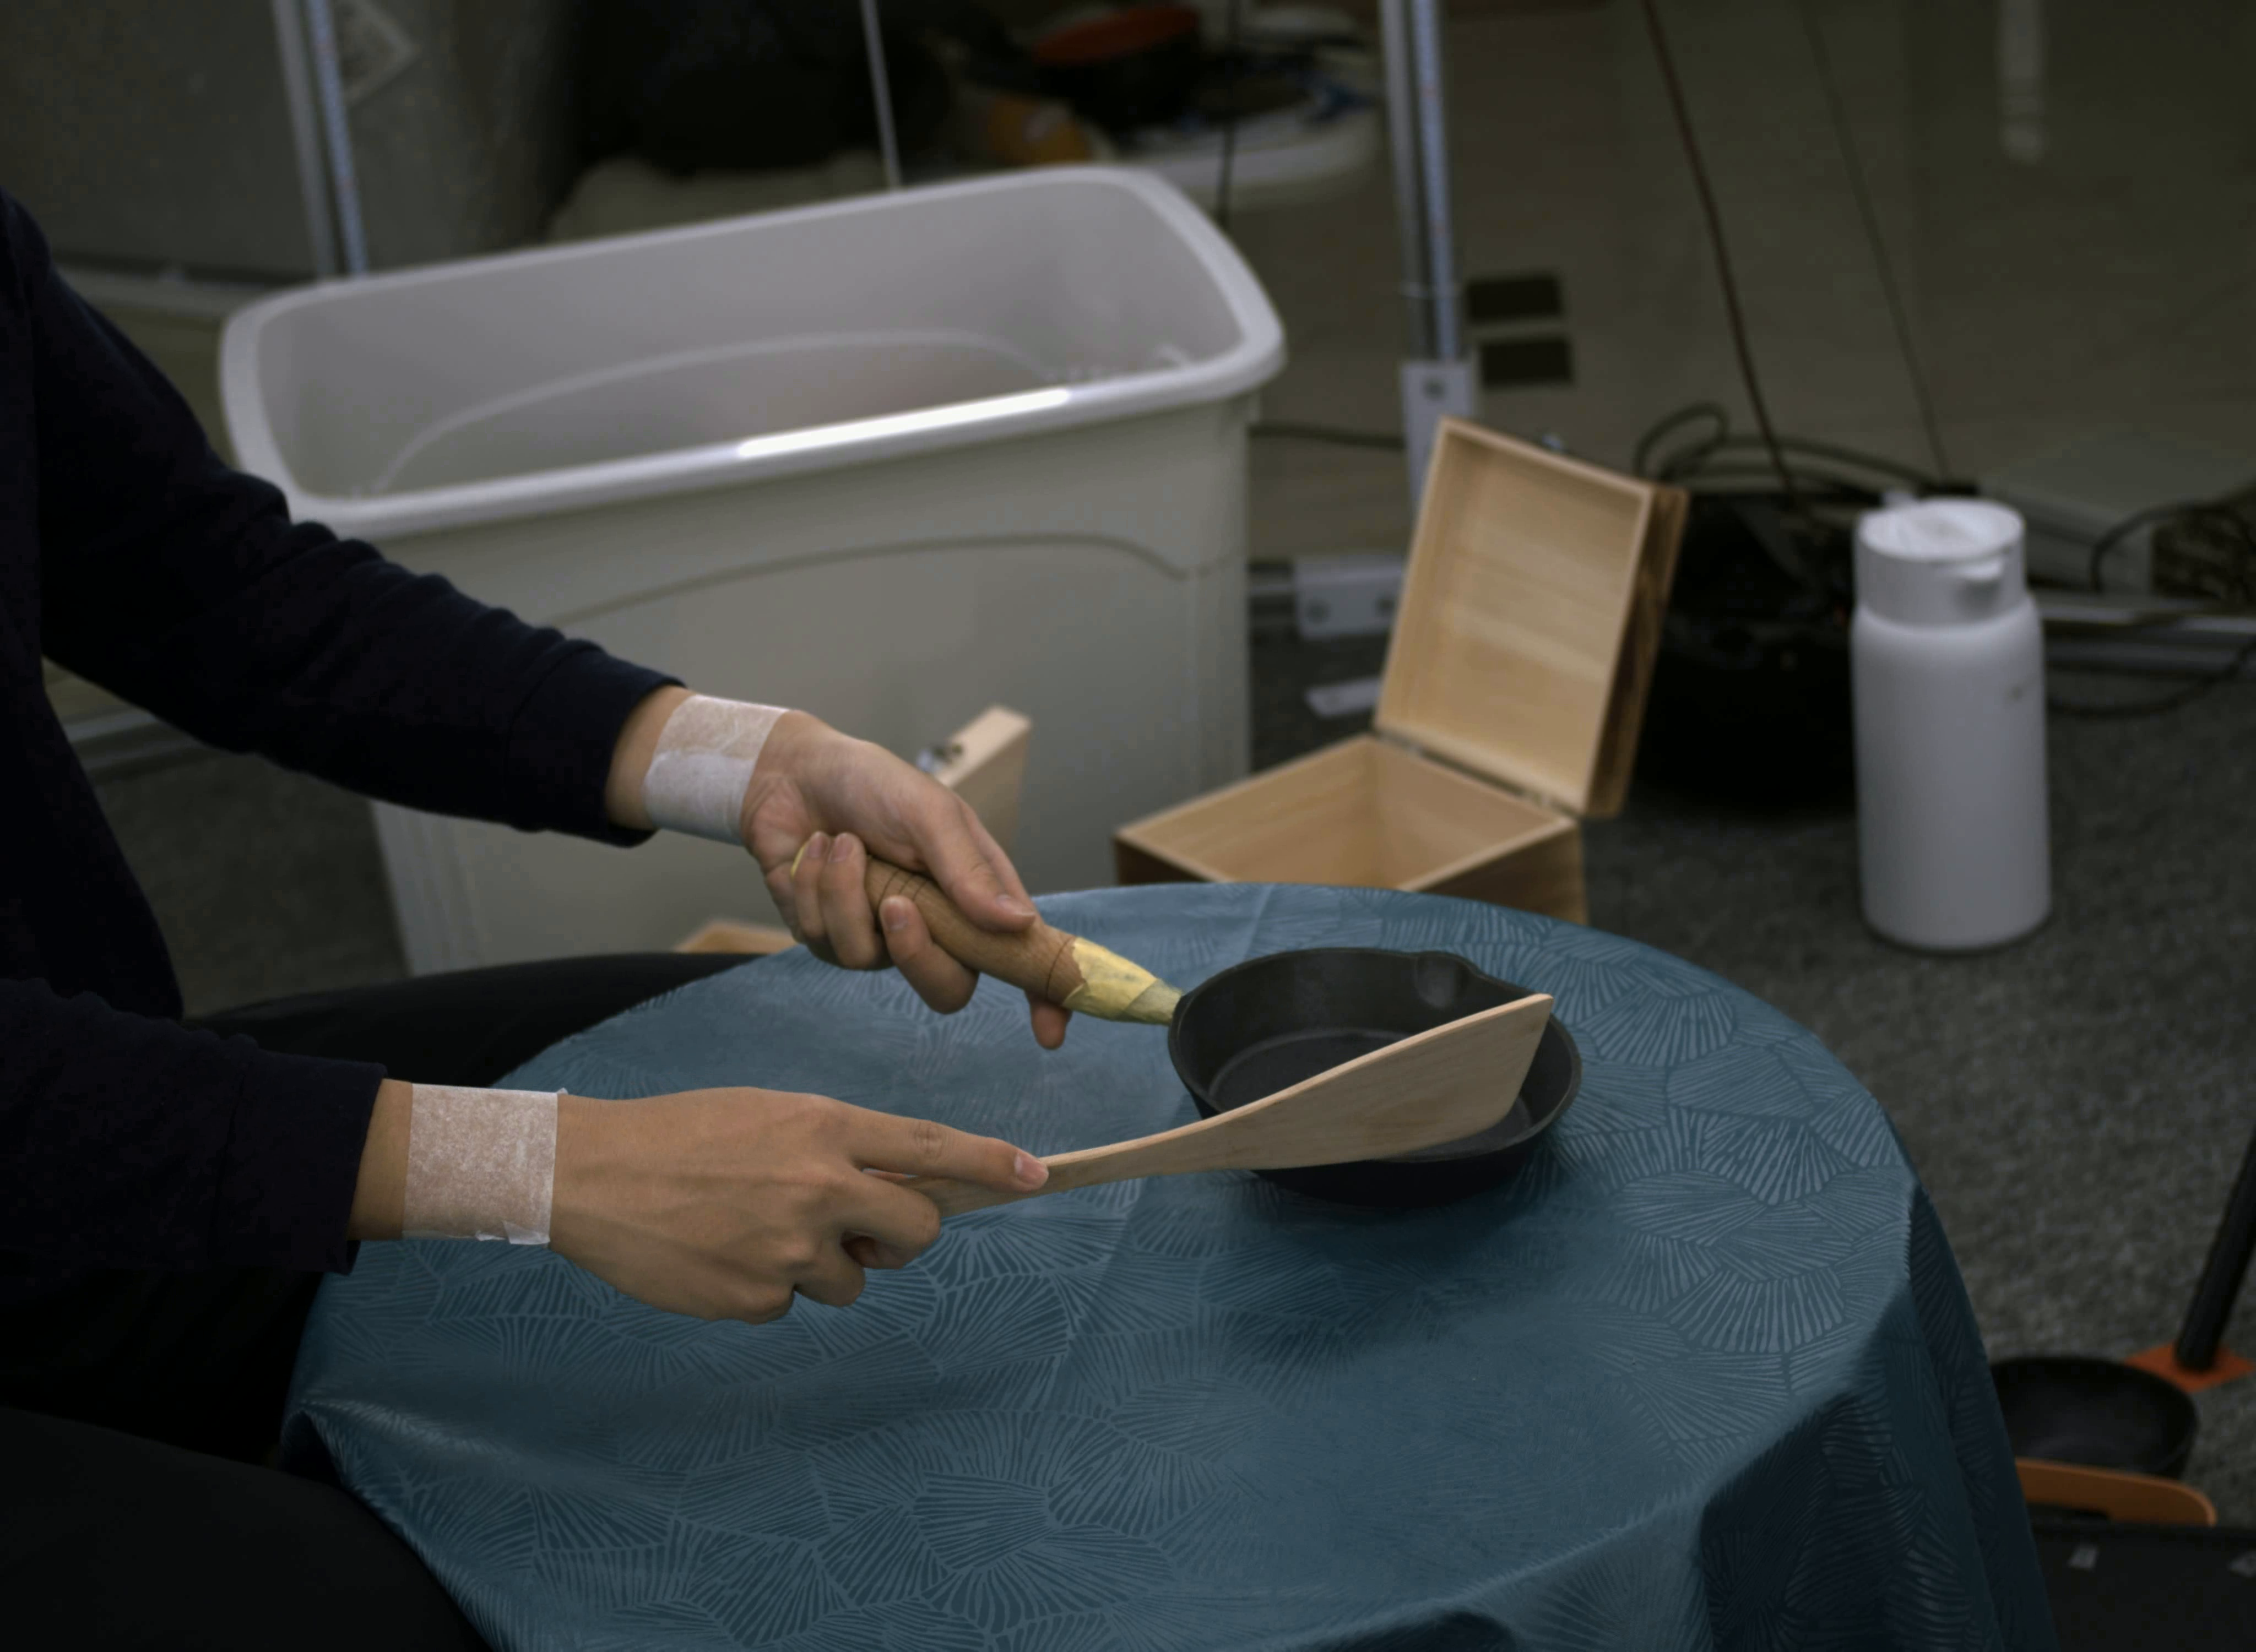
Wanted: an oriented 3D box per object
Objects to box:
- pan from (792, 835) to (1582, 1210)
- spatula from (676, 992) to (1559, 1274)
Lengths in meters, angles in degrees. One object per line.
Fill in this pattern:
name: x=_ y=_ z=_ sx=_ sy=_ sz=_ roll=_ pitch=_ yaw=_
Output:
pan: x=0.017 y=0.069 z=2.173 sx=0.322 sy=0.050 sz=0.167 roll=17 pitch=31 yaw=19
spatula: x=-0.002 y=0.118 z=2.029 sx=0.327 sy=0.081 sz=0.016 roll=-11 pitch=54 yaw=-9
